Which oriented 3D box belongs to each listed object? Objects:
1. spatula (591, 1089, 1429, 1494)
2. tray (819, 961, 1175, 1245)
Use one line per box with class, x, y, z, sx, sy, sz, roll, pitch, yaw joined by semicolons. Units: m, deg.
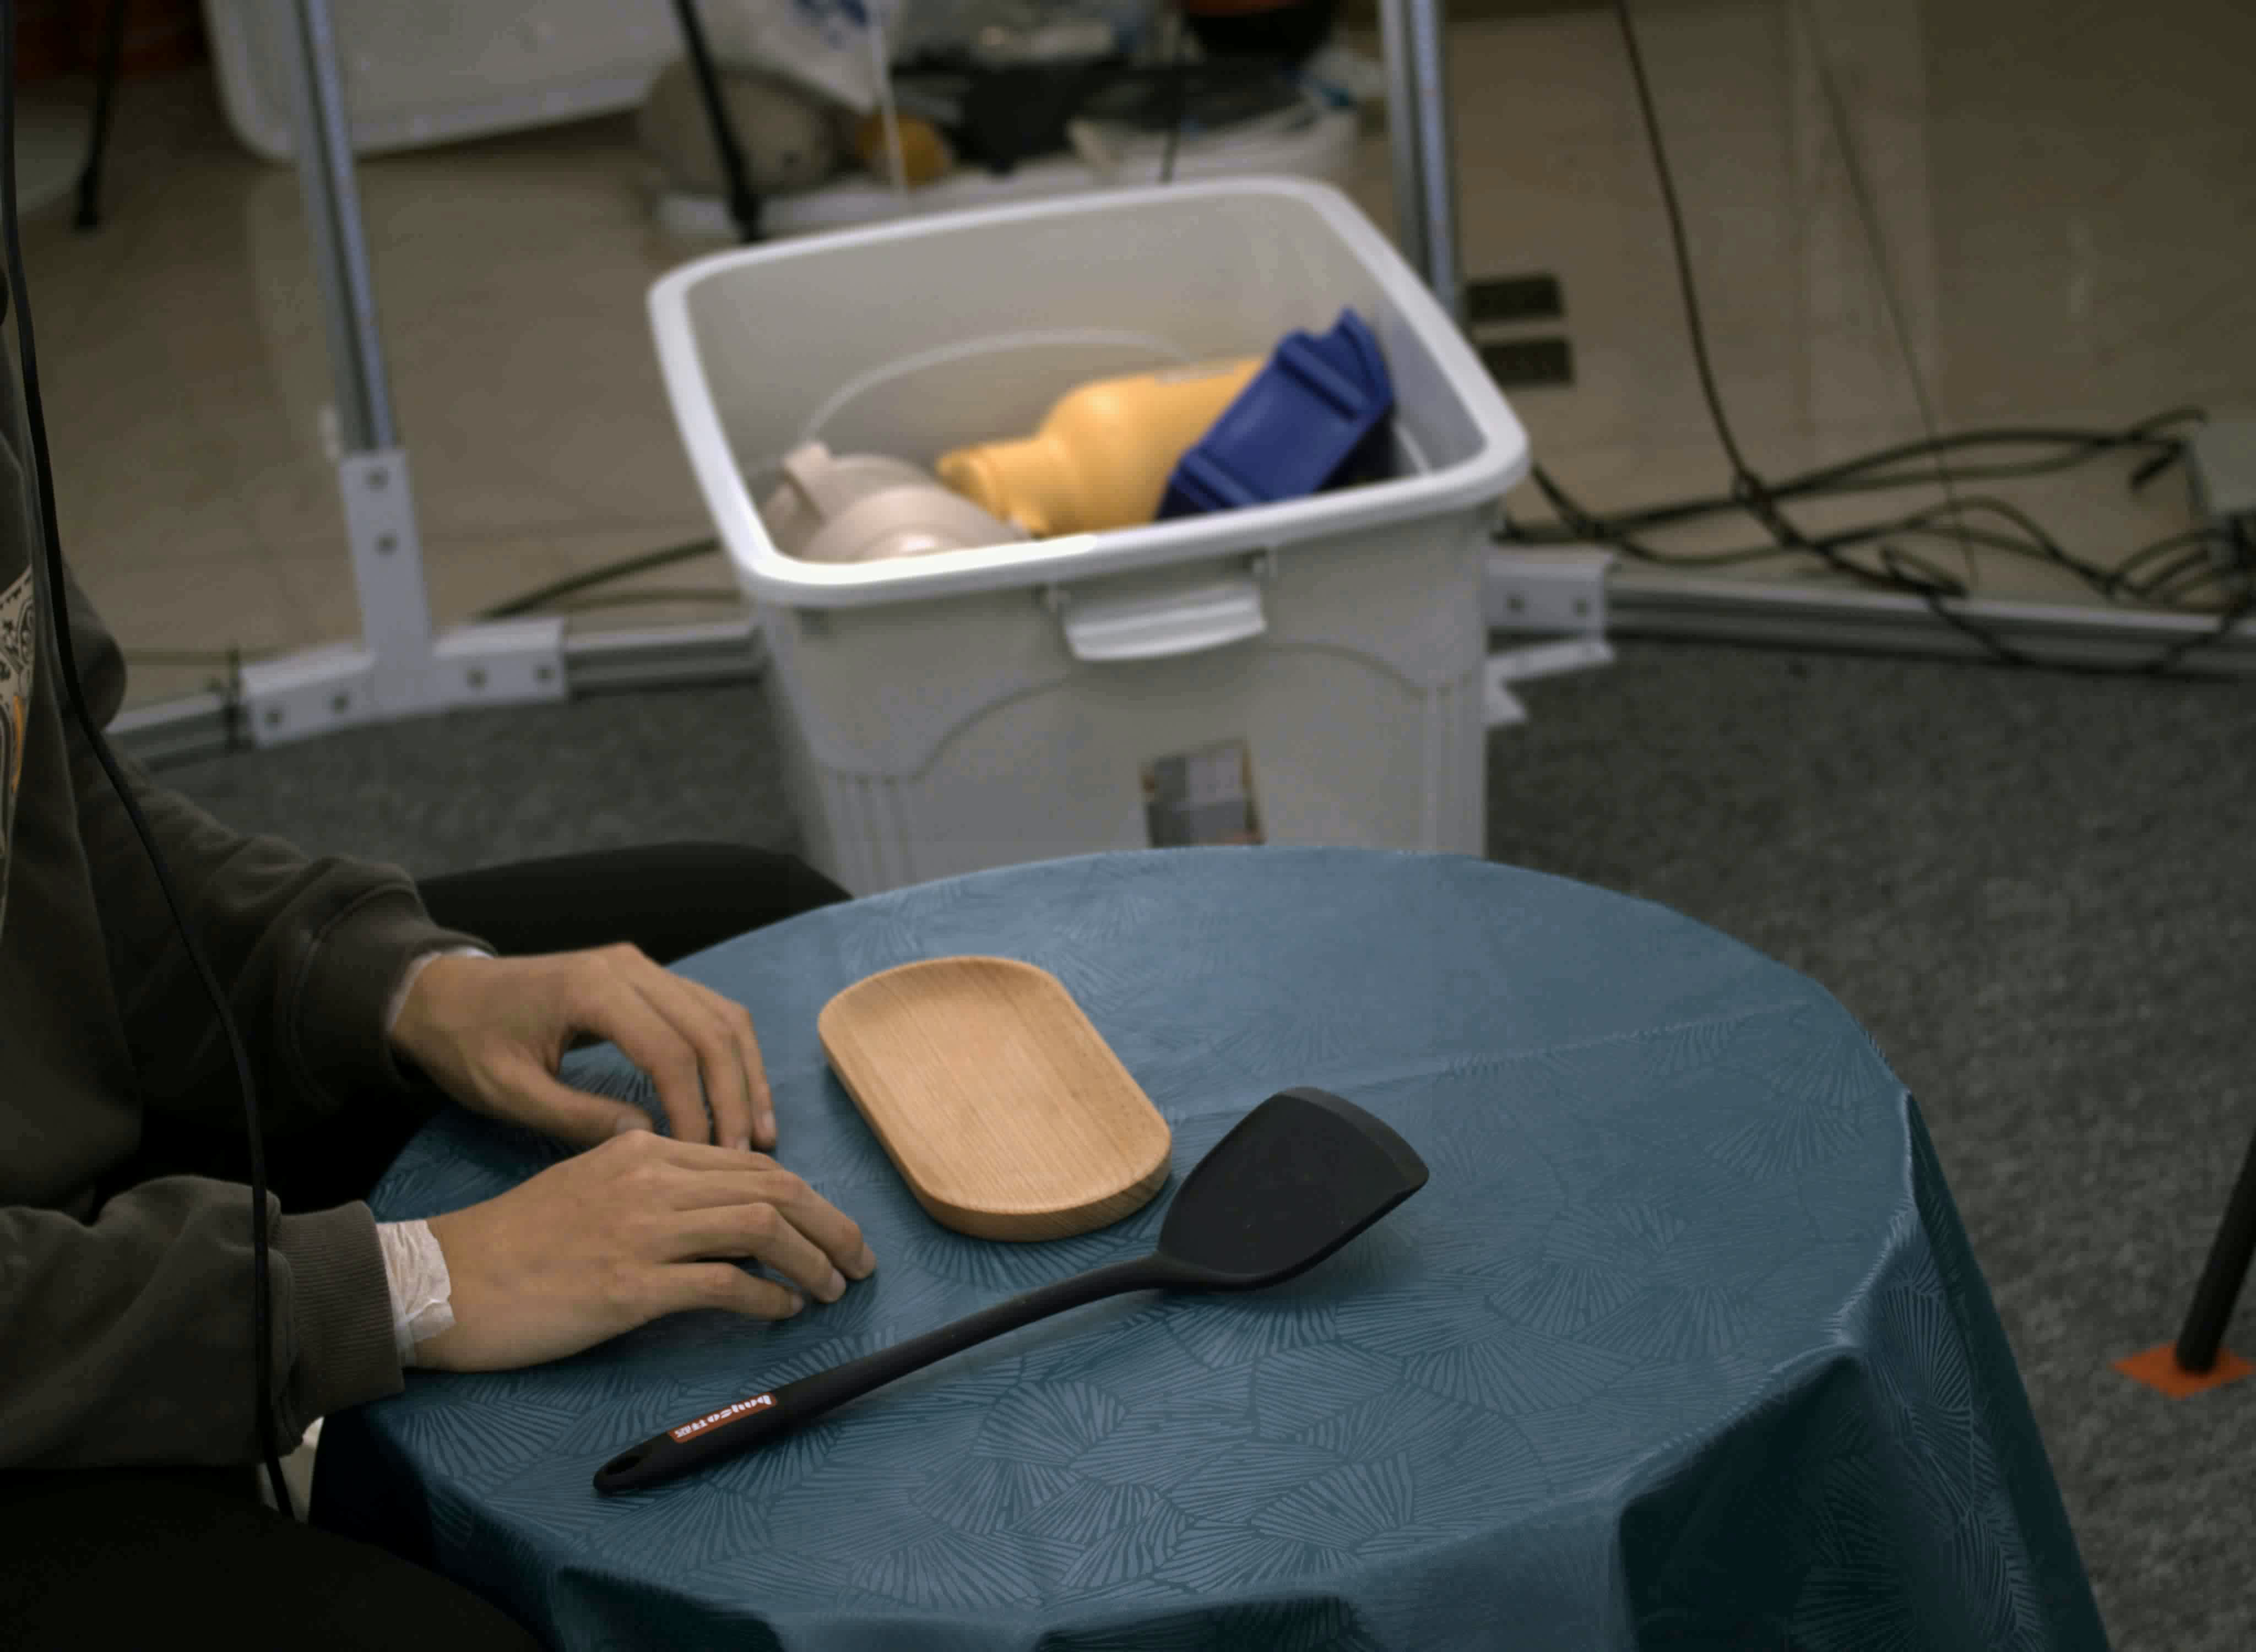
spatula;-0.047;0.173;2.043;0.324;0.041;0.098;-18;26;-23
tray;-0.053;0.106;2.212;0.101;0.020;0.228;-14;27;-14
